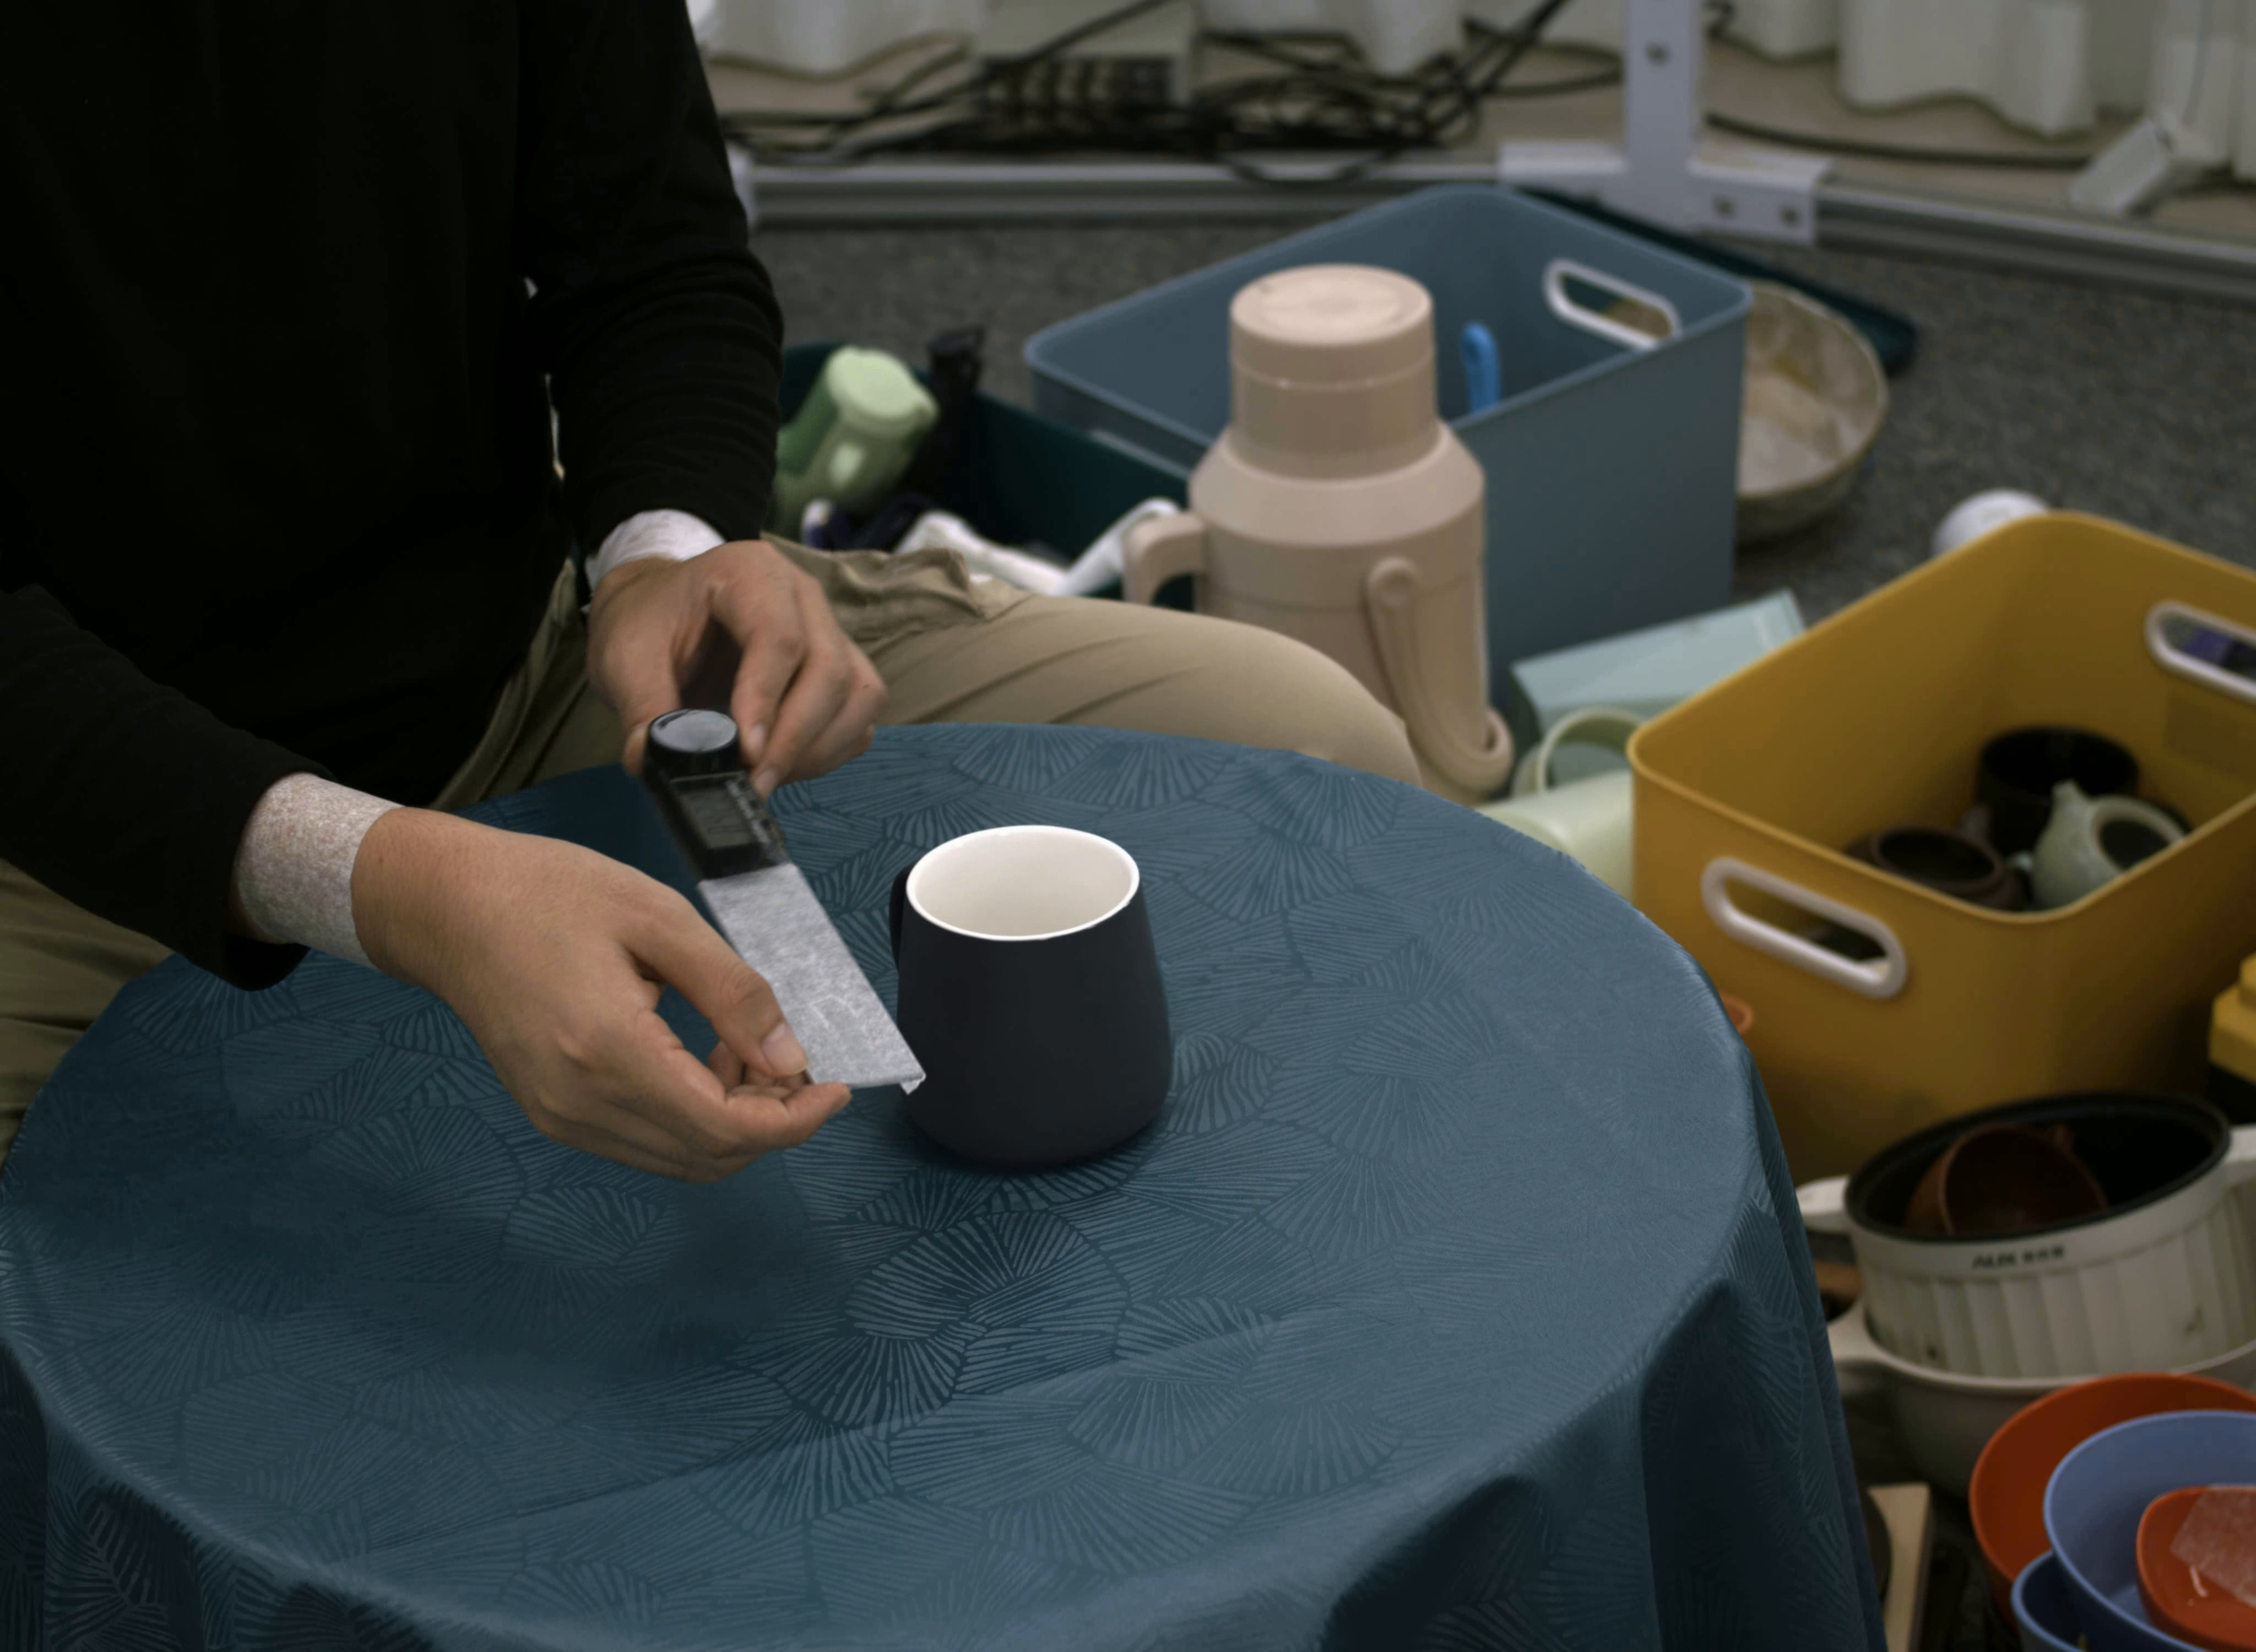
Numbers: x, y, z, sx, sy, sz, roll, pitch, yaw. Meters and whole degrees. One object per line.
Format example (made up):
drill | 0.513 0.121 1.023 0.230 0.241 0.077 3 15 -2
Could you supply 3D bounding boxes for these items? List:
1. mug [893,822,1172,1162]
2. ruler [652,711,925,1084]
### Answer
mug | -0.041 0.051 1.902 0.094 0.089 0.123 -19 32 -30
ruler | -0.116 0.020 1.846 0.038 0.024 0.220 -11 30 -15
